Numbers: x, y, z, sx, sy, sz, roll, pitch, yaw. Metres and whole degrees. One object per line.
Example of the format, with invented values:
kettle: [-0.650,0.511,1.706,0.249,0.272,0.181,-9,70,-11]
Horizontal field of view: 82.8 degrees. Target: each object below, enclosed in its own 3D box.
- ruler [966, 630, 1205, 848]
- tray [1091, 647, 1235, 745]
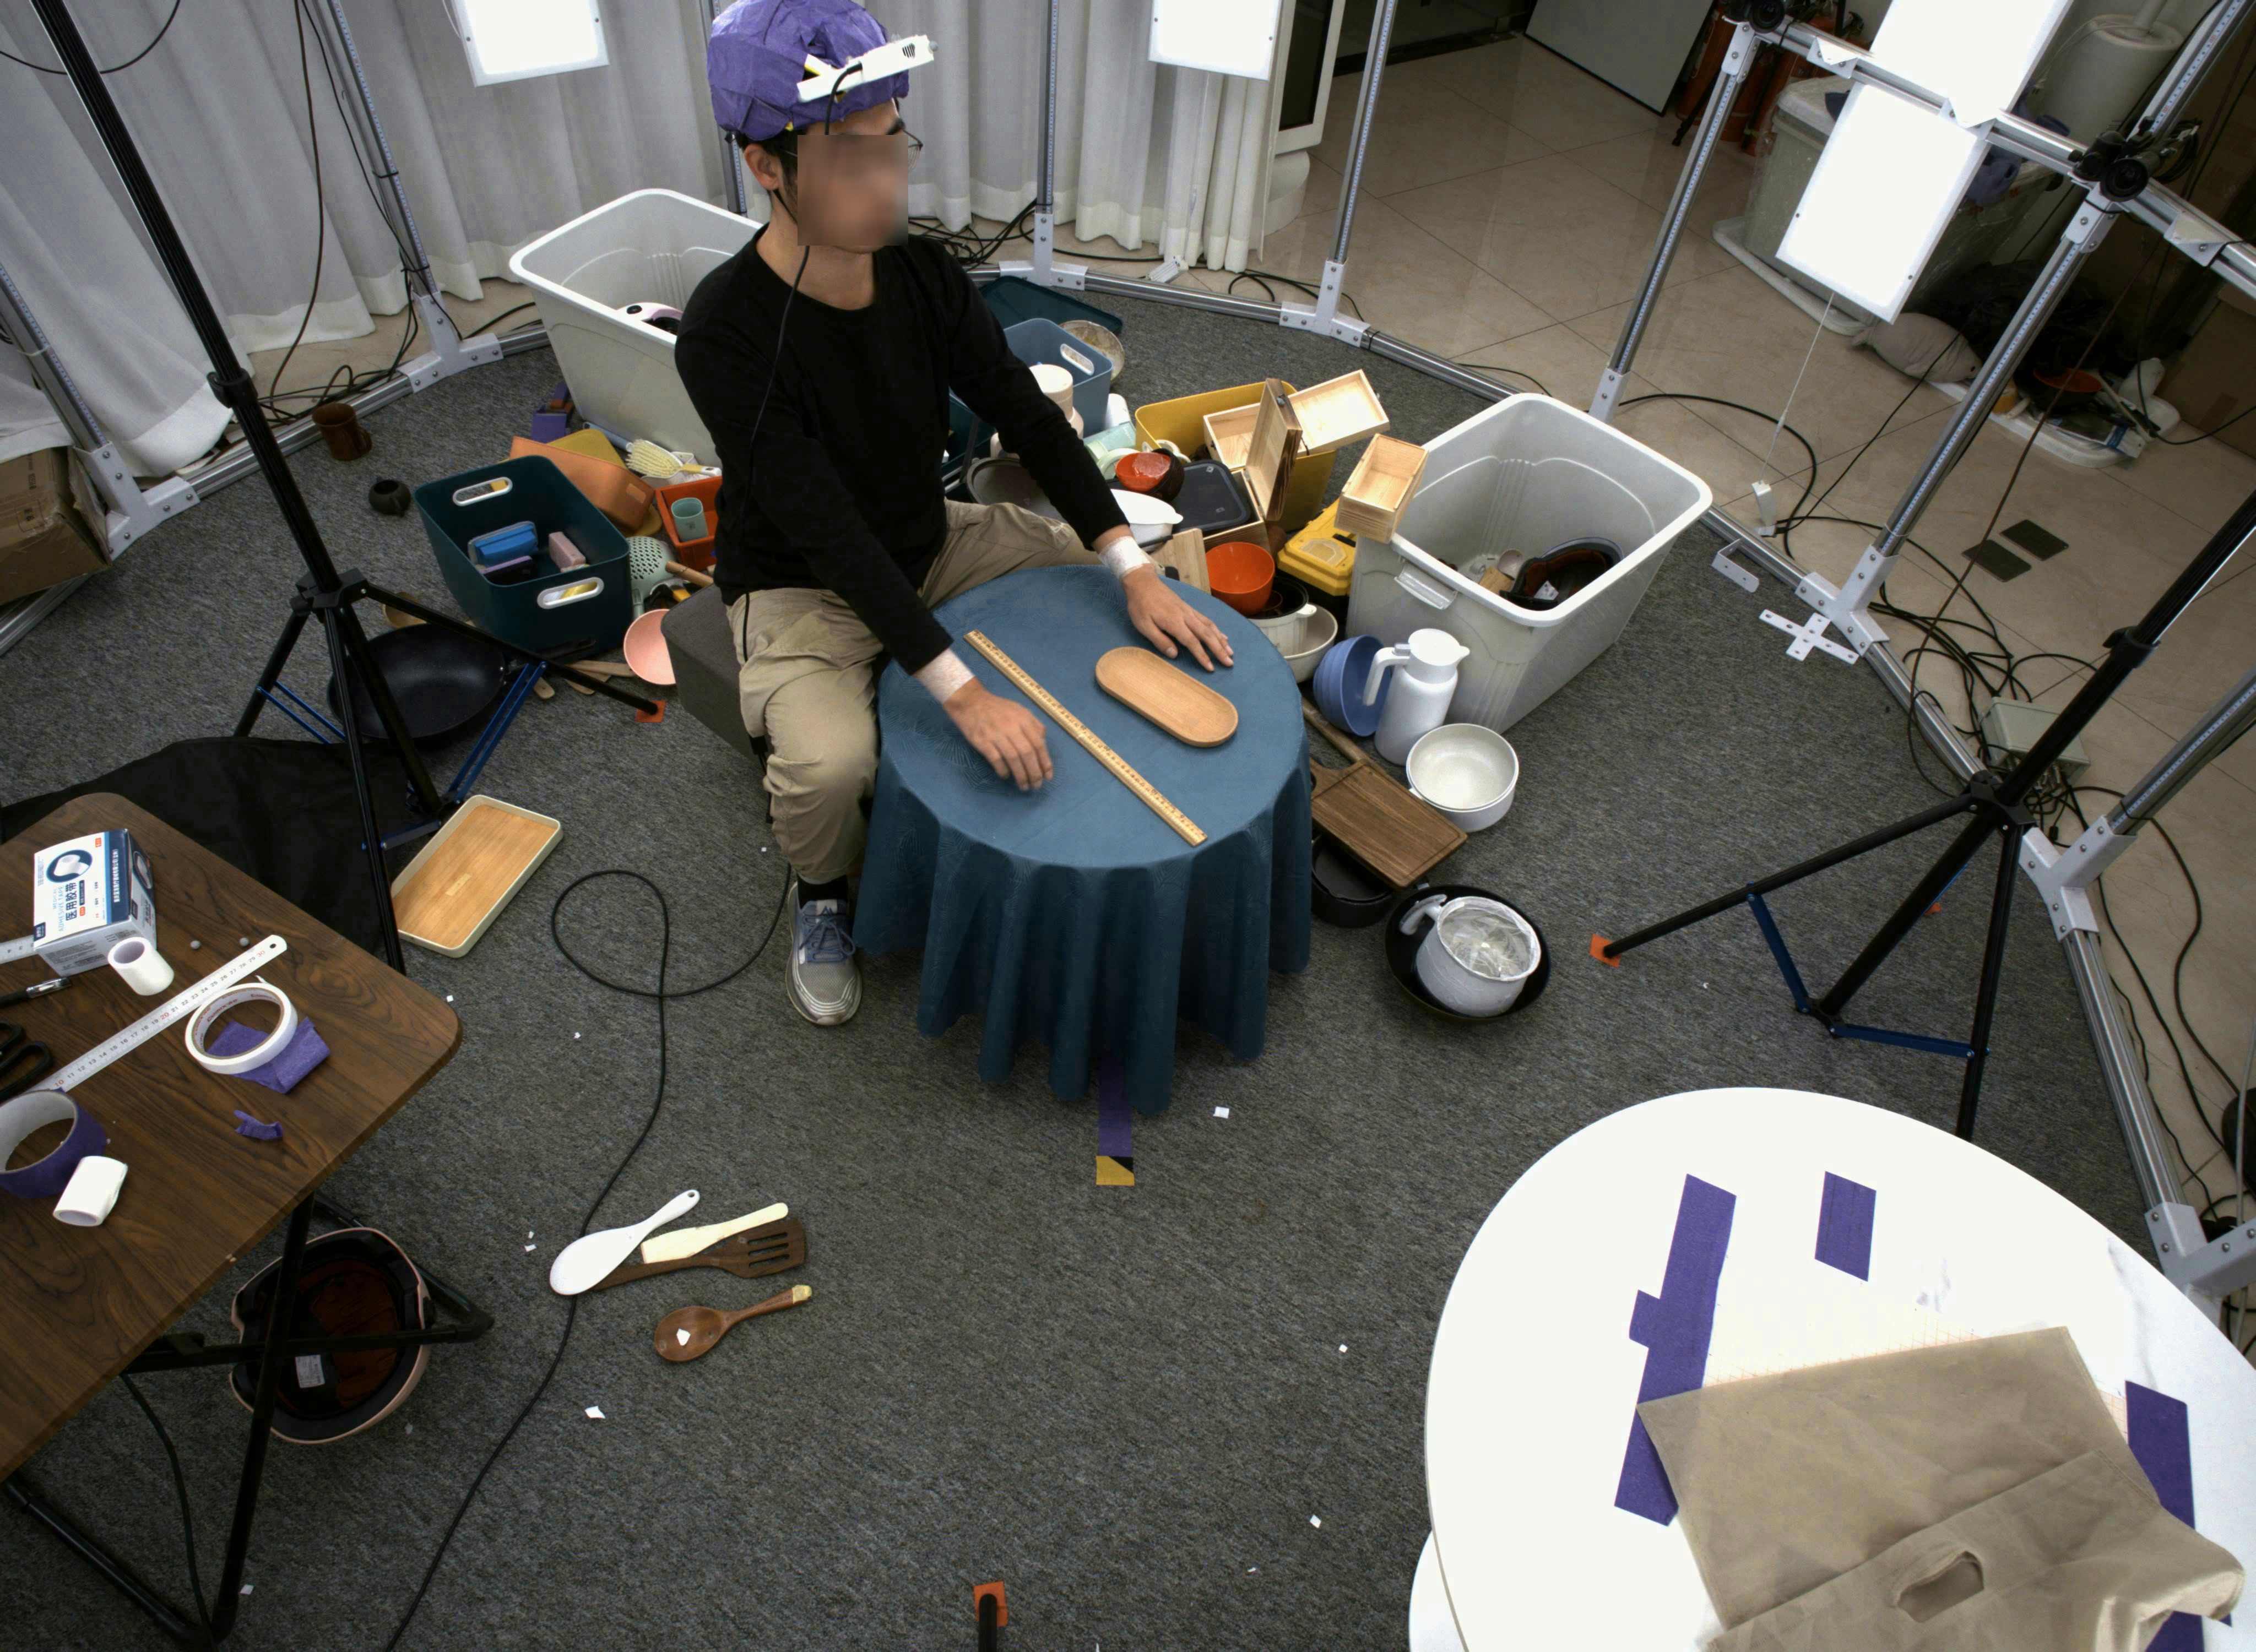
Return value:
ruler: [-0.068,-0.132,1.776,0.027,0.006,0.509,-29,57,-27]
tray: [0.048,-0.186,1.824,0.234,0.020,0.103,32,53,24]
